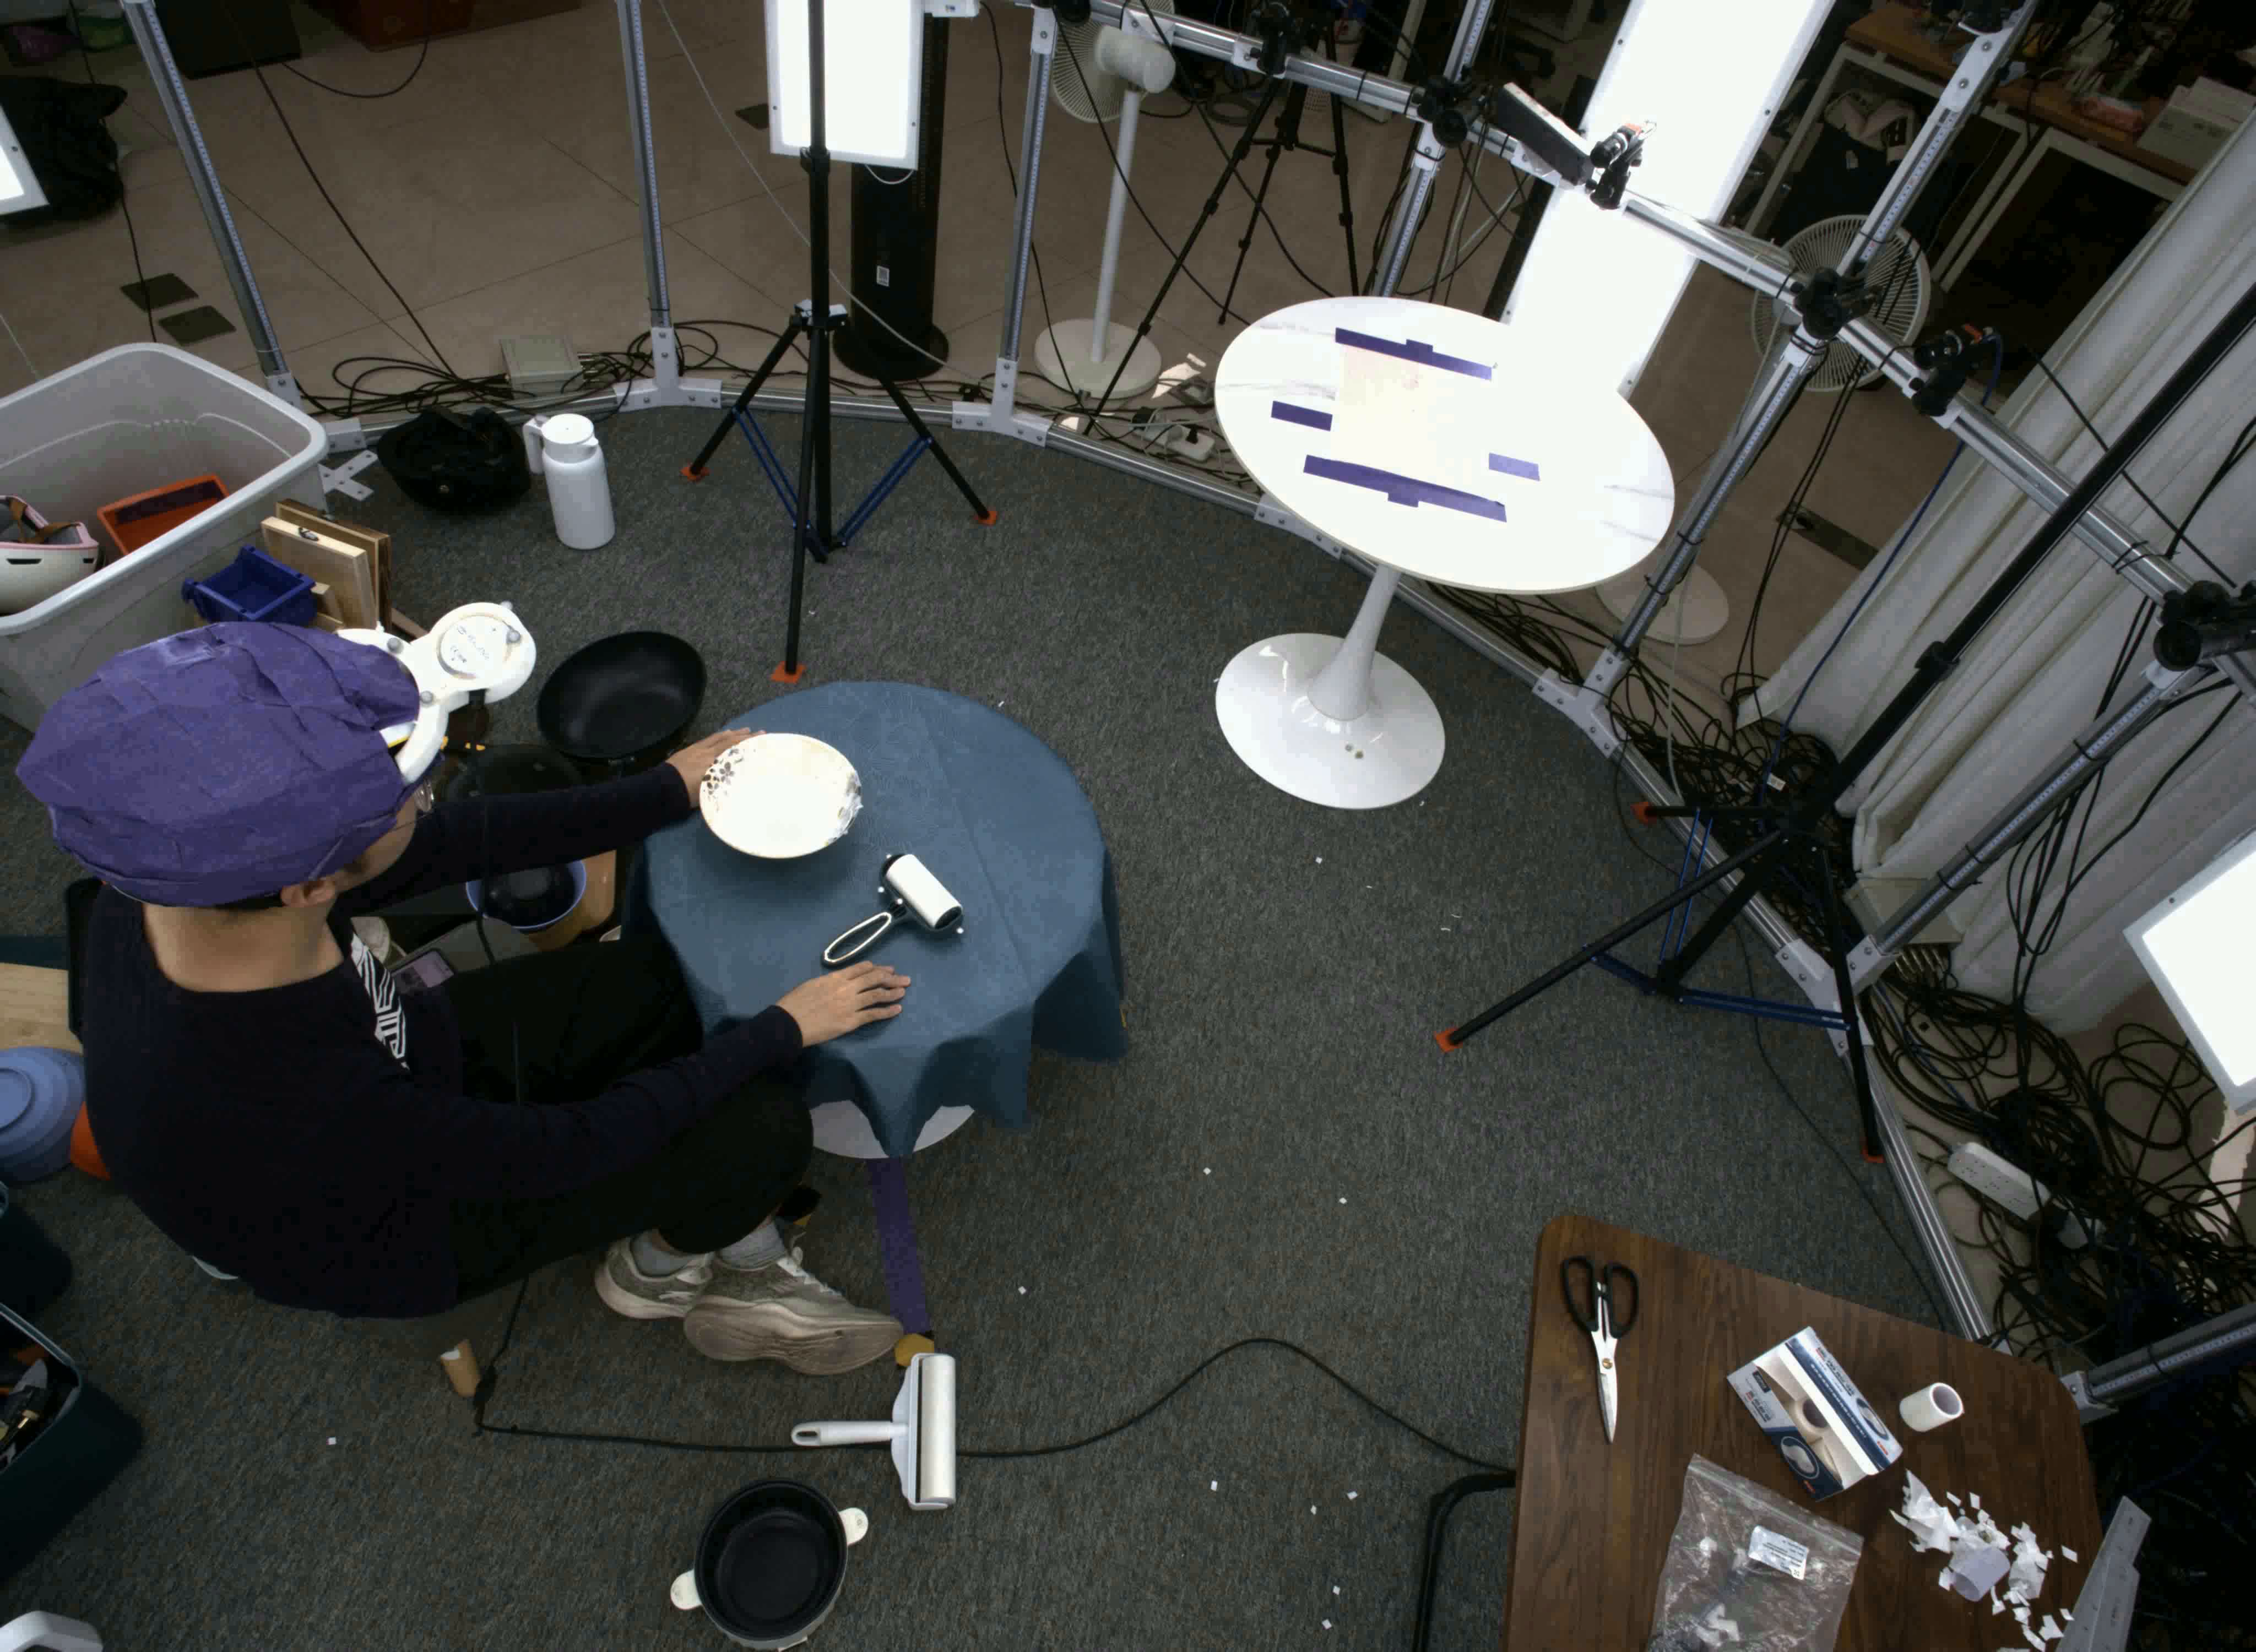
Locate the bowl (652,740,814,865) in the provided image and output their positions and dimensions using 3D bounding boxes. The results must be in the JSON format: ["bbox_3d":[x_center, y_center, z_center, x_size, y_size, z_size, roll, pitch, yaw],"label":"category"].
[{"bbox_3d":[-0.507,-0.012,1.673,0.203,0.079,0.200,7,52,-7],"label":"bowl"}]

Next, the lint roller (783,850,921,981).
[{"bbox_3d":[-0.363,0.124,1.633,0.131,0.049,0.180,41,59,17],"label":"lint roller"}]
